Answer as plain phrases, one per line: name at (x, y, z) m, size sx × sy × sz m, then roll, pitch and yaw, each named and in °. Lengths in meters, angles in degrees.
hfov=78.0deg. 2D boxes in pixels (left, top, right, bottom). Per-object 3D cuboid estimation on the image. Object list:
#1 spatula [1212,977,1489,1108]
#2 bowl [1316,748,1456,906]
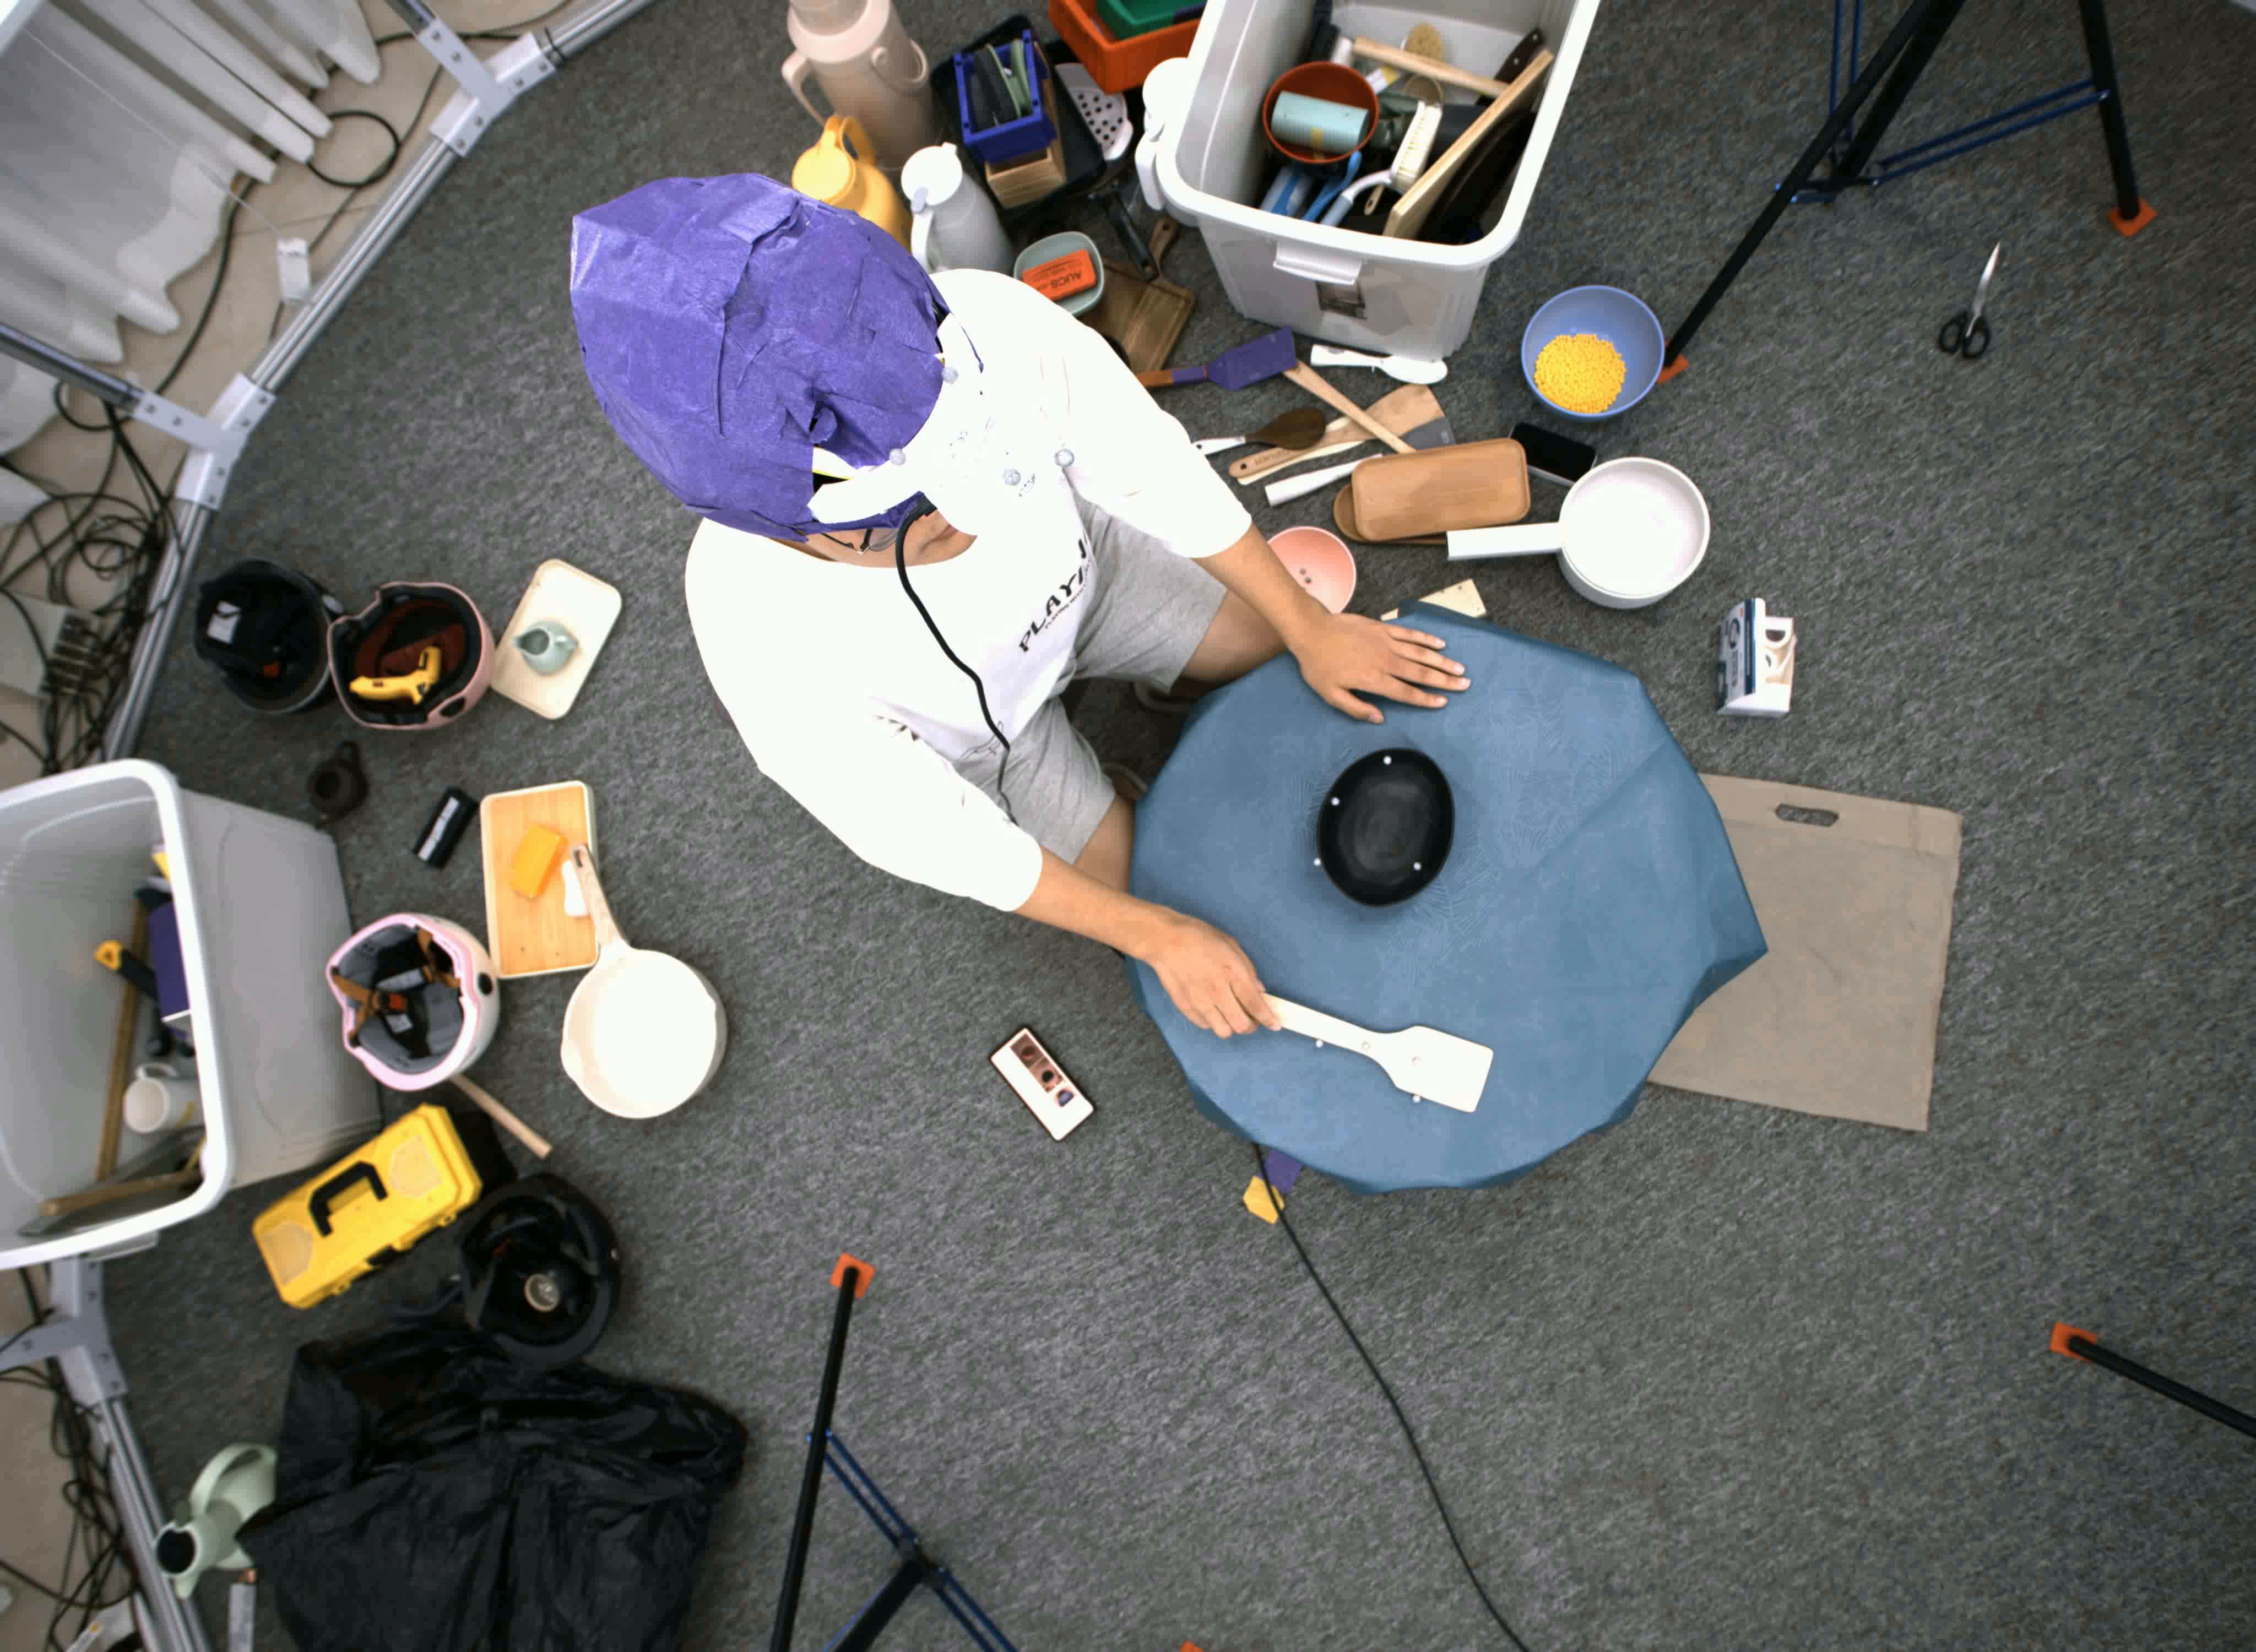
spatula at (0.227, 0.215, 1.443) m, size 0.293 × 0.010 × 0.072 m, roll 18°, pitch 90°, yaw 5°
bowl at (0.268, 0.000, 1.432) m, size 0.137 × 0.067 × 0.170 m, roll 18°, pitch 88°, yaw 12°
